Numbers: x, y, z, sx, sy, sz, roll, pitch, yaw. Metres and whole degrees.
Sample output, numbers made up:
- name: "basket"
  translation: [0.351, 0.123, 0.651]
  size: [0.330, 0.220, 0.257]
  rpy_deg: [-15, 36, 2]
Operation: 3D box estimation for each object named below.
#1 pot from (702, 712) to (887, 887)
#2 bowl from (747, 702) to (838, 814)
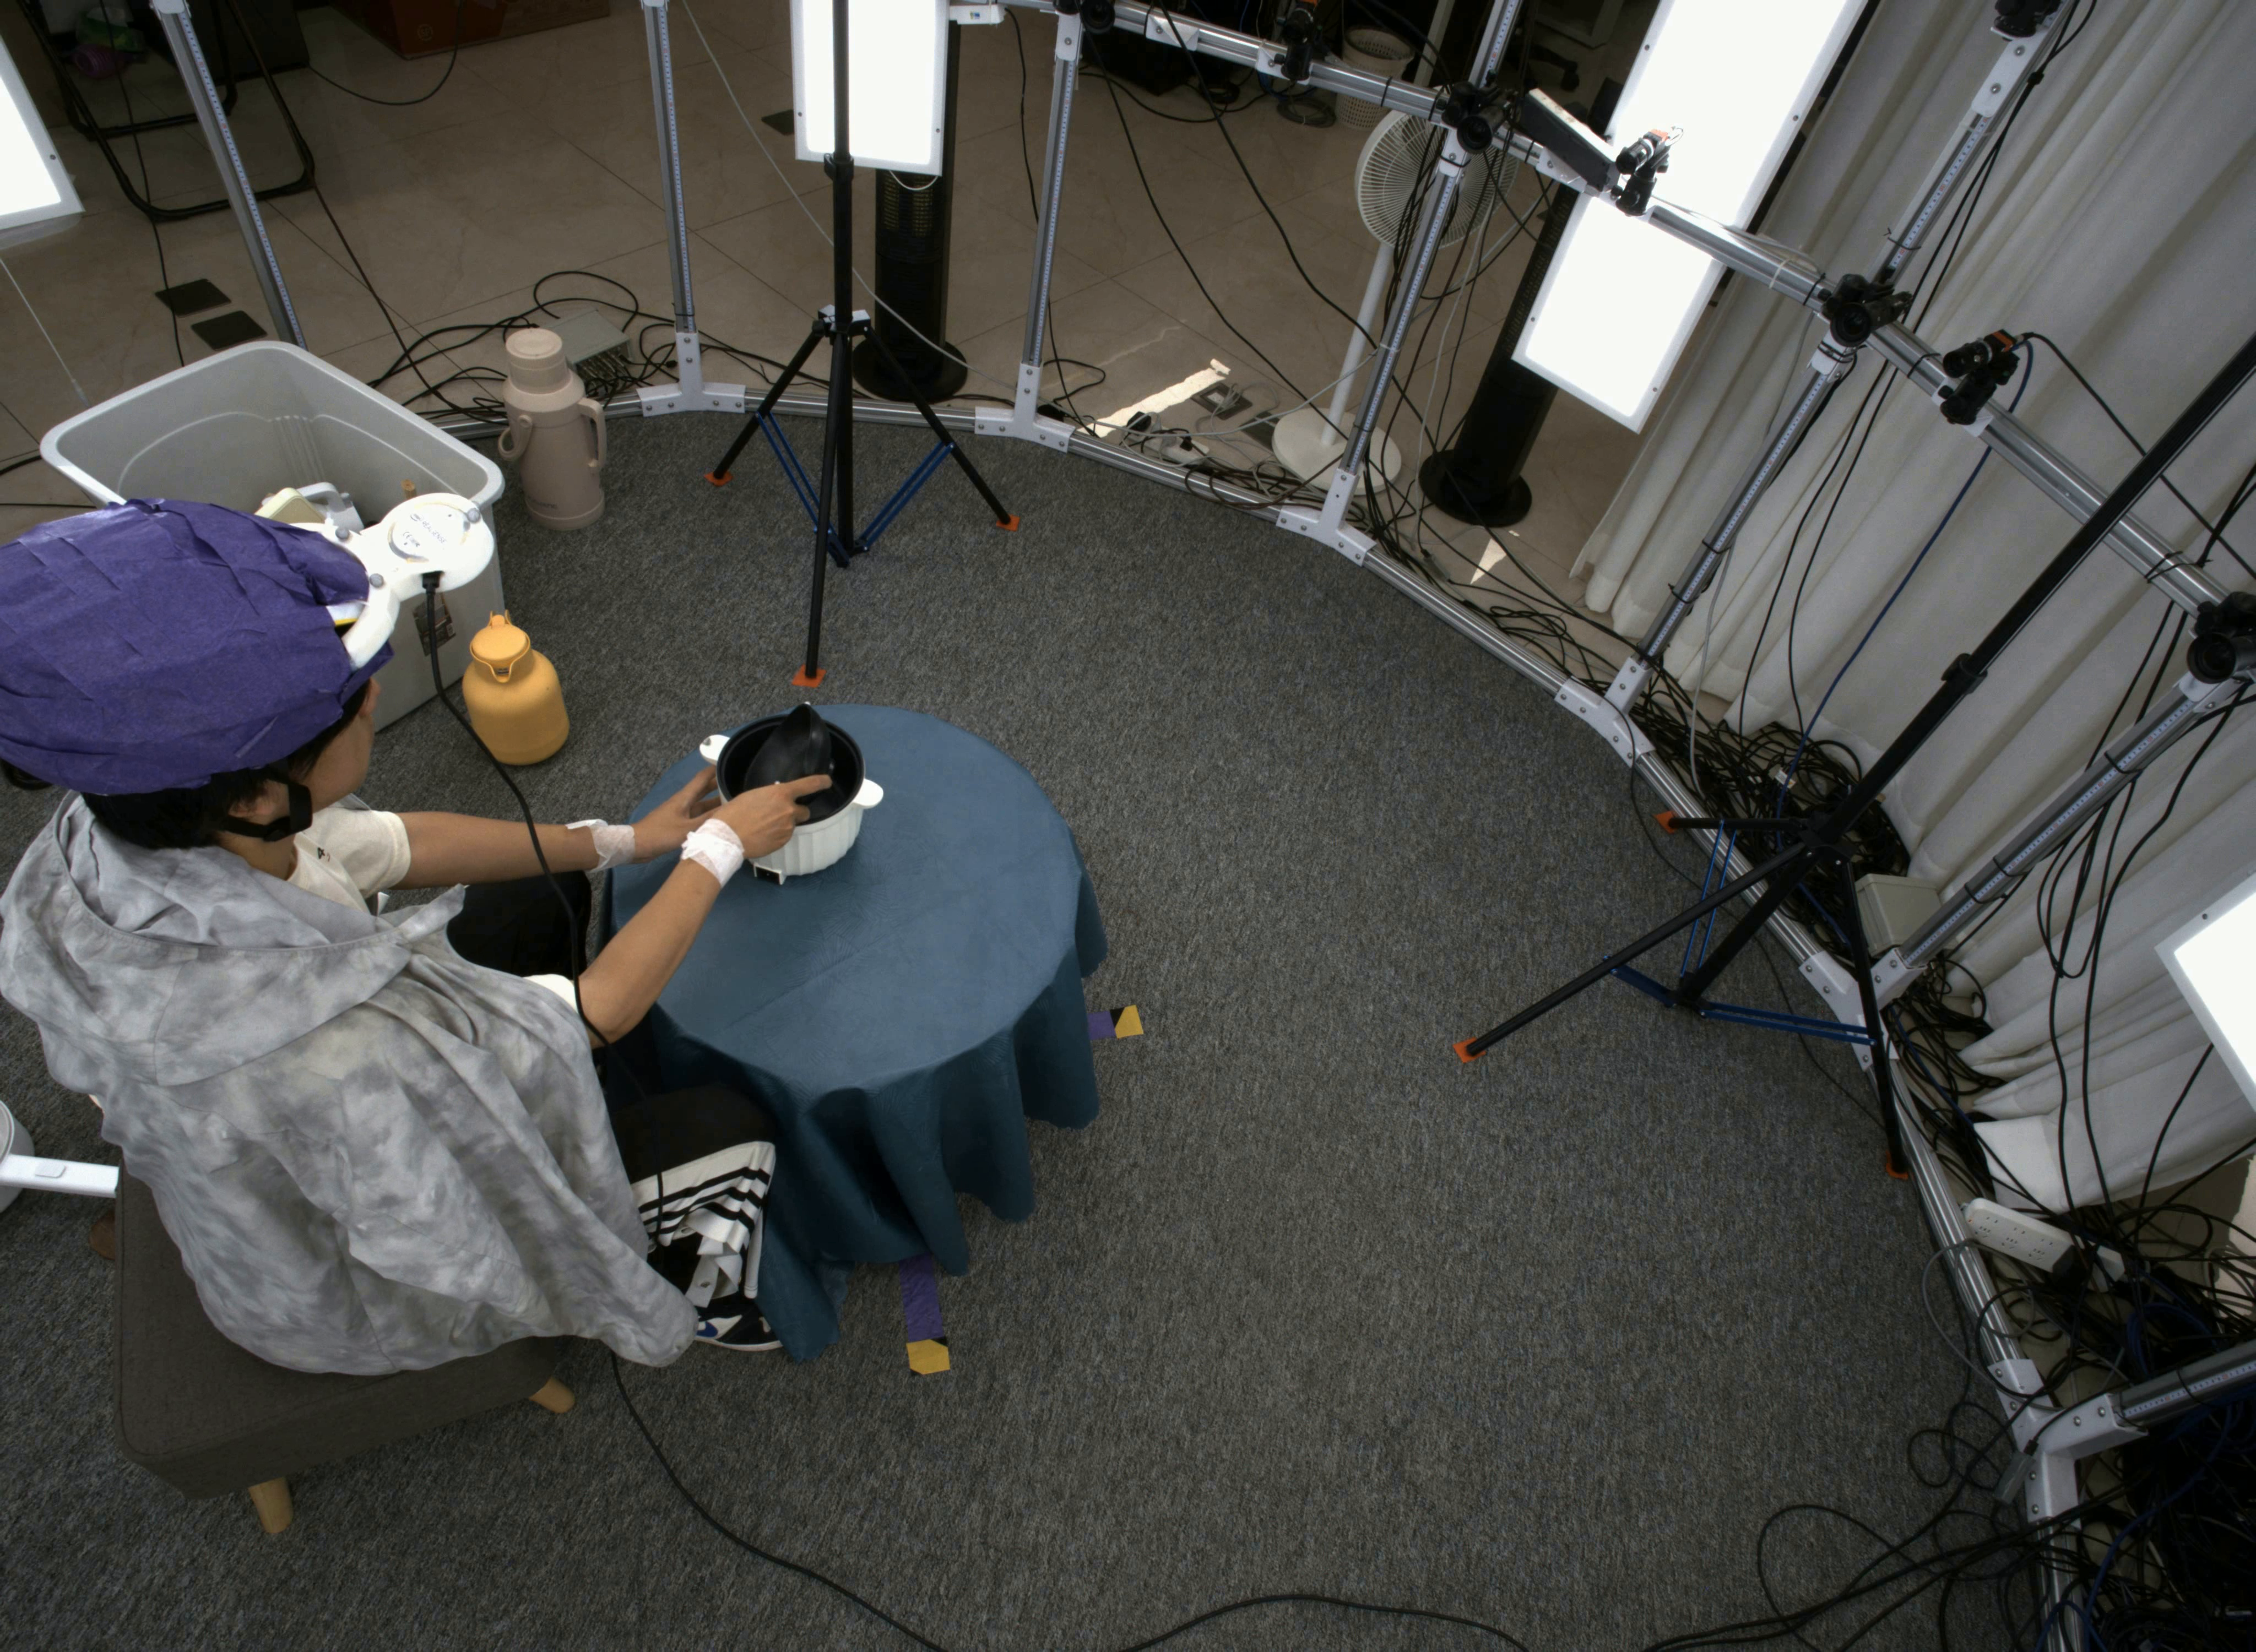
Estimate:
- name: "pot"
  translation: [-0.424, -0.038, 1.665]
  size: [0.238, 0.145, 0.188]
  rpy_deg: [17, 55, -1]
- name: "bowl"
  translation: [-0.399, -0.074, 1.586]
  size: [0.069, 0.137, 0.164]
  rpy_deg: [35, 13, -33]
